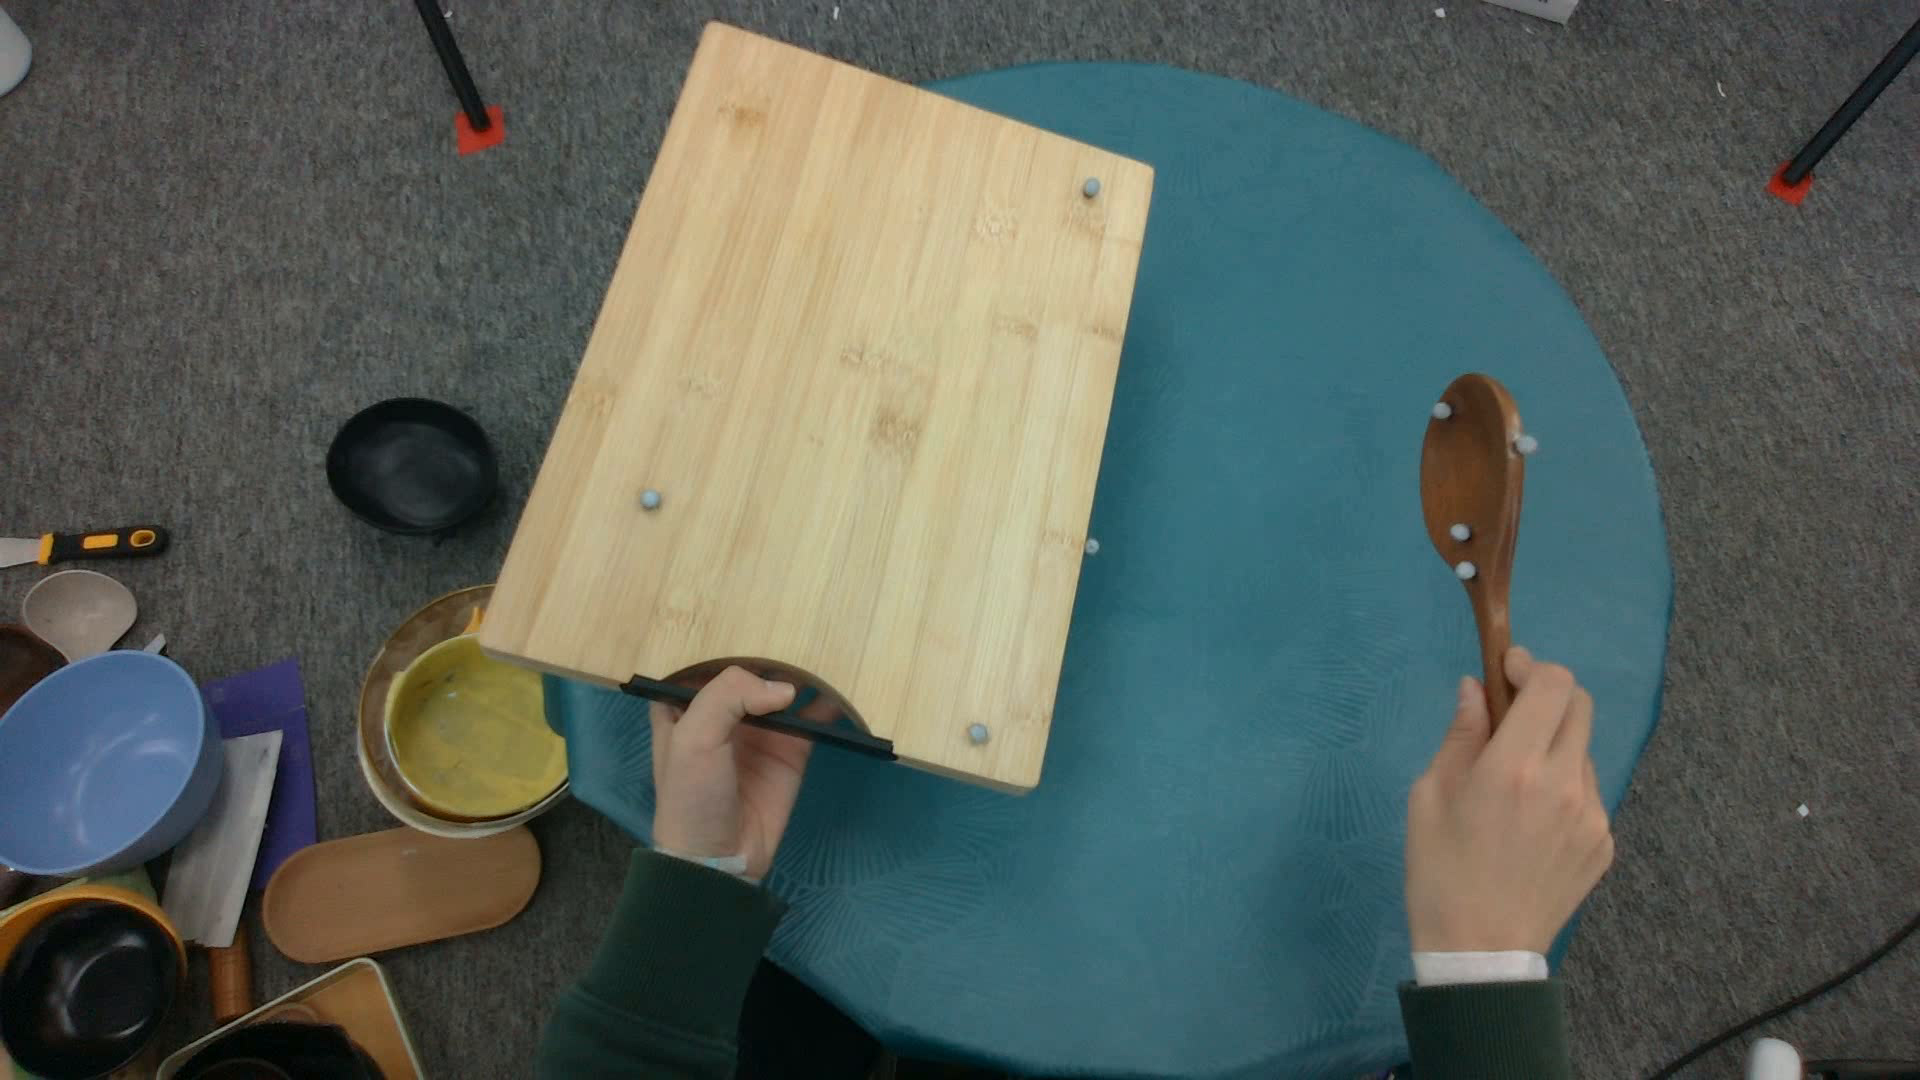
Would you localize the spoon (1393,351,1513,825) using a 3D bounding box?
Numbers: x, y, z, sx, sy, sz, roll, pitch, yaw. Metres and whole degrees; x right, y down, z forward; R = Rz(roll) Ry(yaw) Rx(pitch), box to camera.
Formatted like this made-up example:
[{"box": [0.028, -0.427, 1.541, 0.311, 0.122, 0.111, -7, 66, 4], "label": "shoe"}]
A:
[{"box": [0.221, 0.016, 0.600, 0.017, 0.075, 0.216, 11, 65, -16], "label": "spoon"}]

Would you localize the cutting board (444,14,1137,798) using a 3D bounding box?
[{"box": [-0.059, -0.076, 0.644, 0.251, 0.023, 0.350, 15, 66, -7], "label": "cutting board"}]
